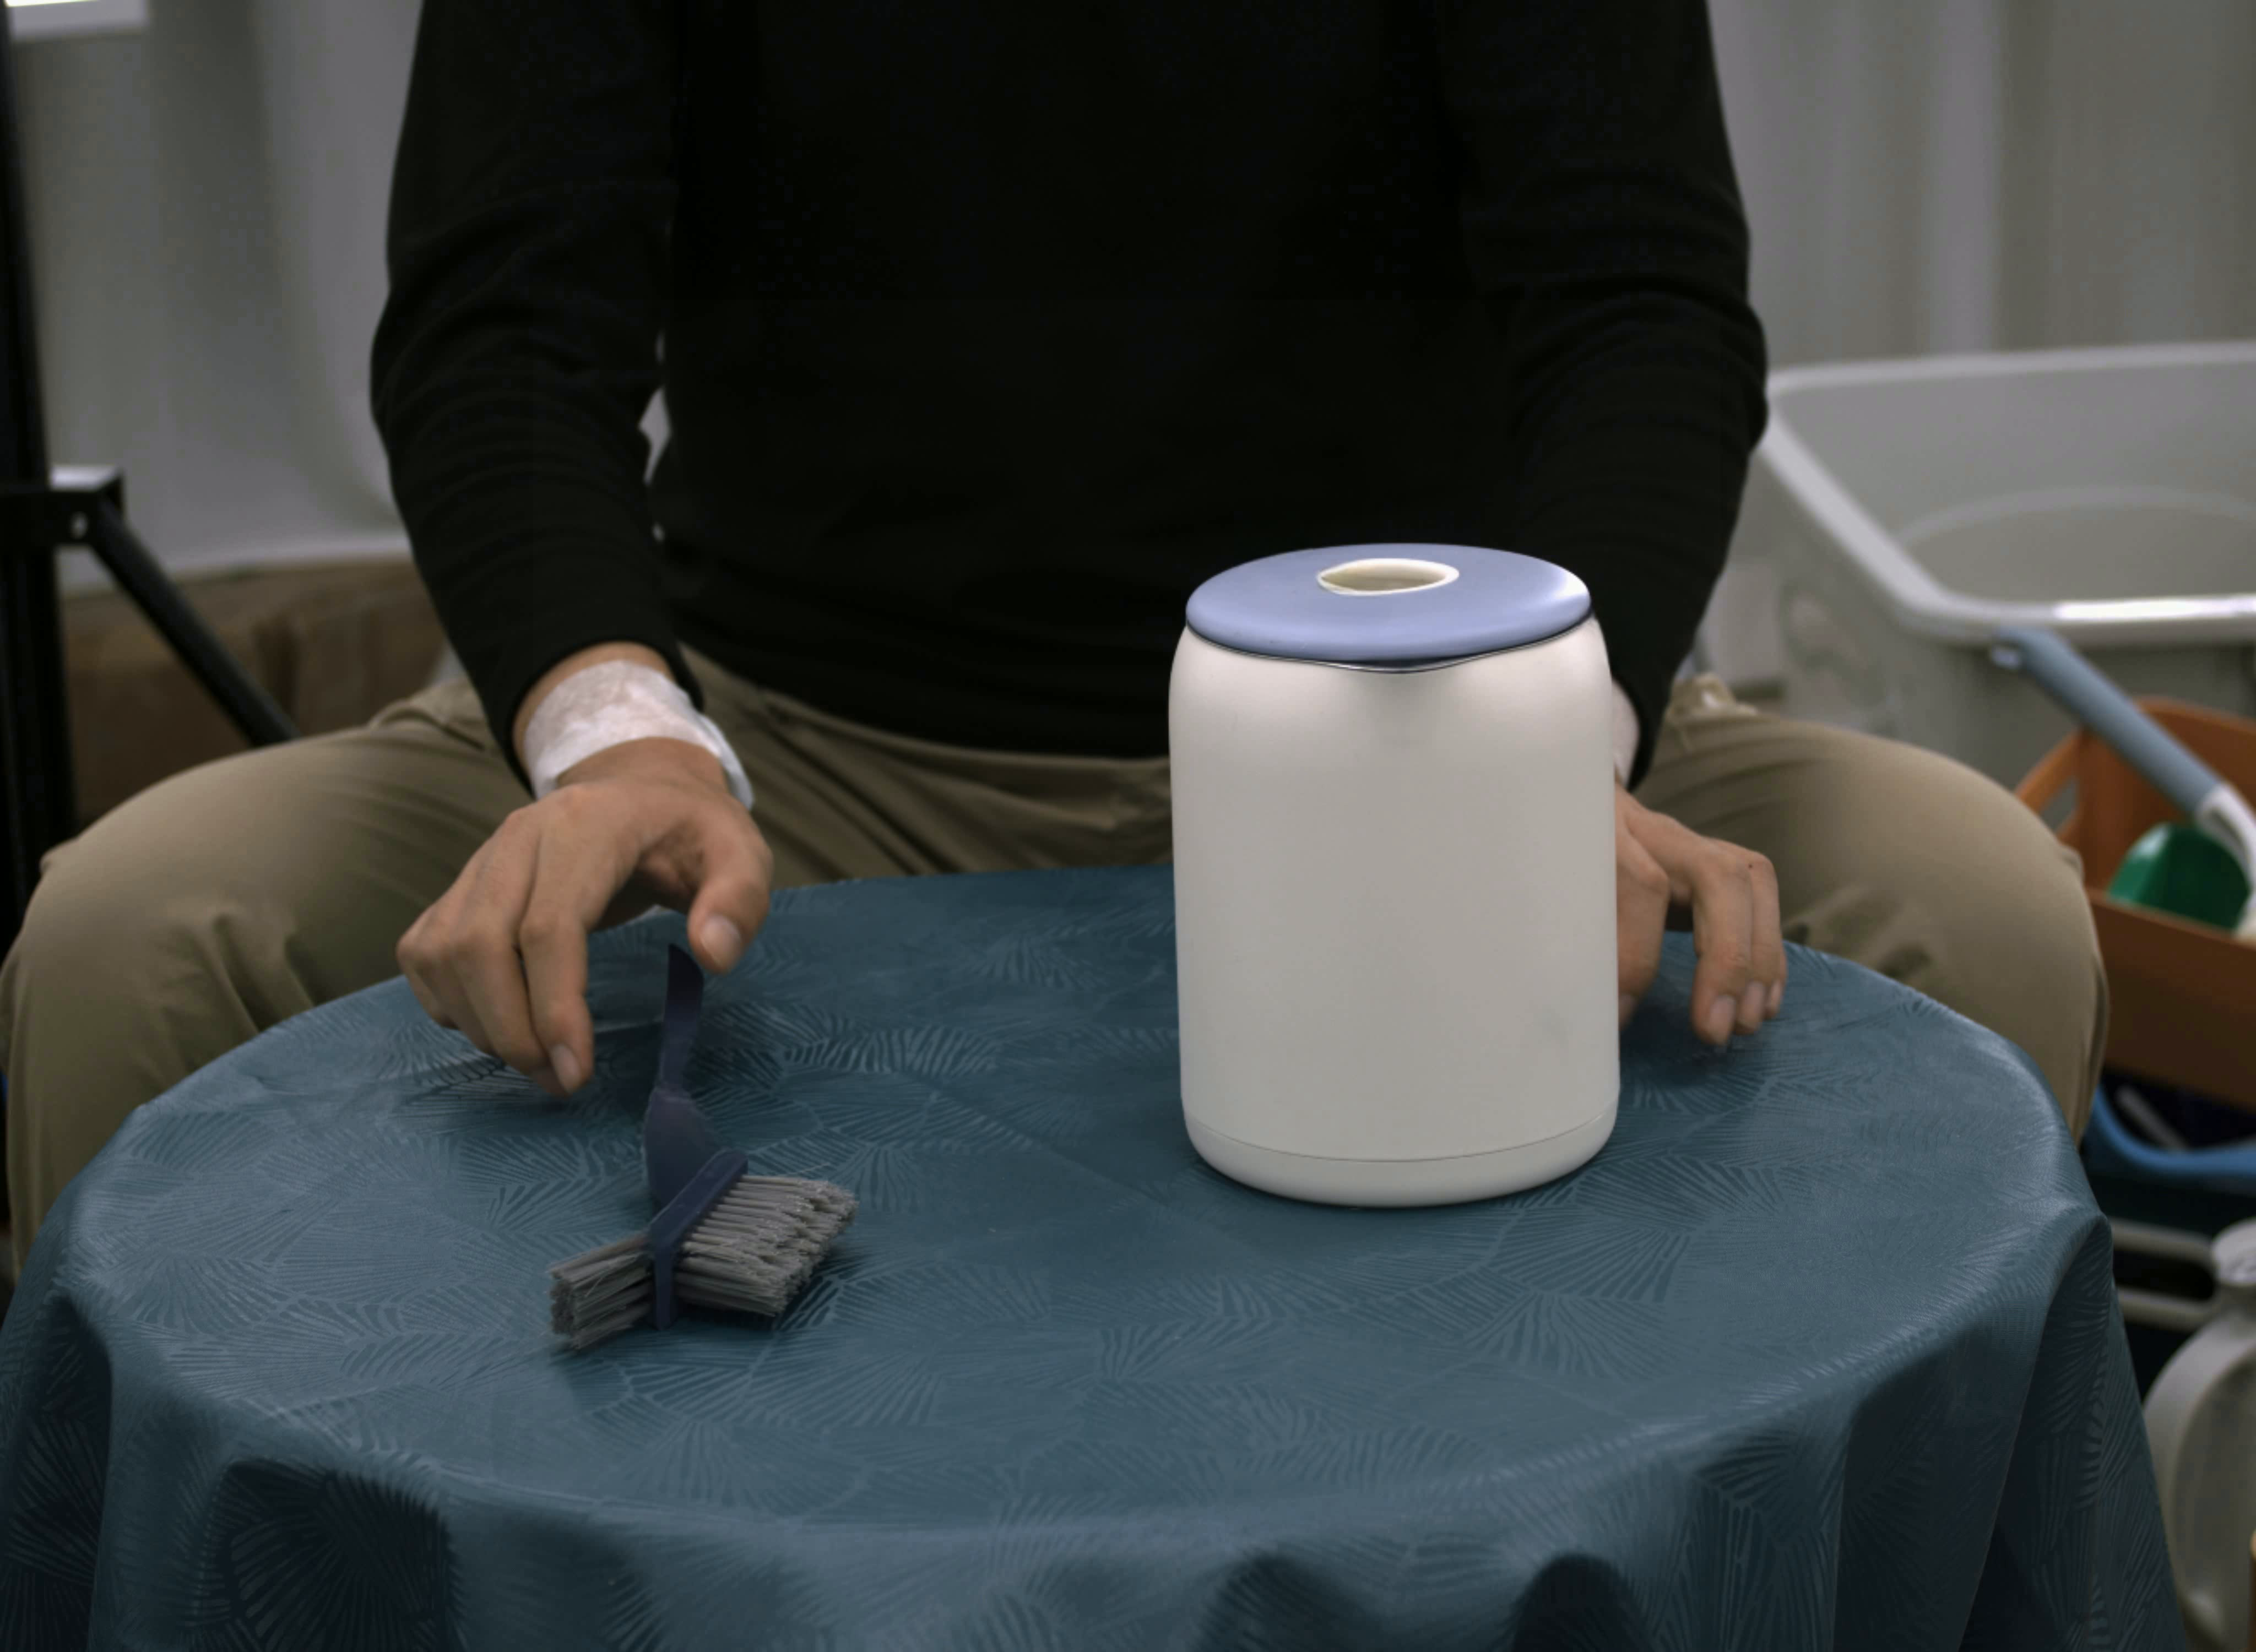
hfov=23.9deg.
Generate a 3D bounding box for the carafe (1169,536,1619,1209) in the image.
[{"bbox_3d":[0.077,0.006,1.589,0.131,0.182,0.192,-2,14,-2],"label":"carafe"}]

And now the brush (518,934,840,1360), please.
[{"bbox_3d":[-0.141,0.091,1.584,0.095,0.033,0.276,-7,17,-8],"label":"brush"}]
